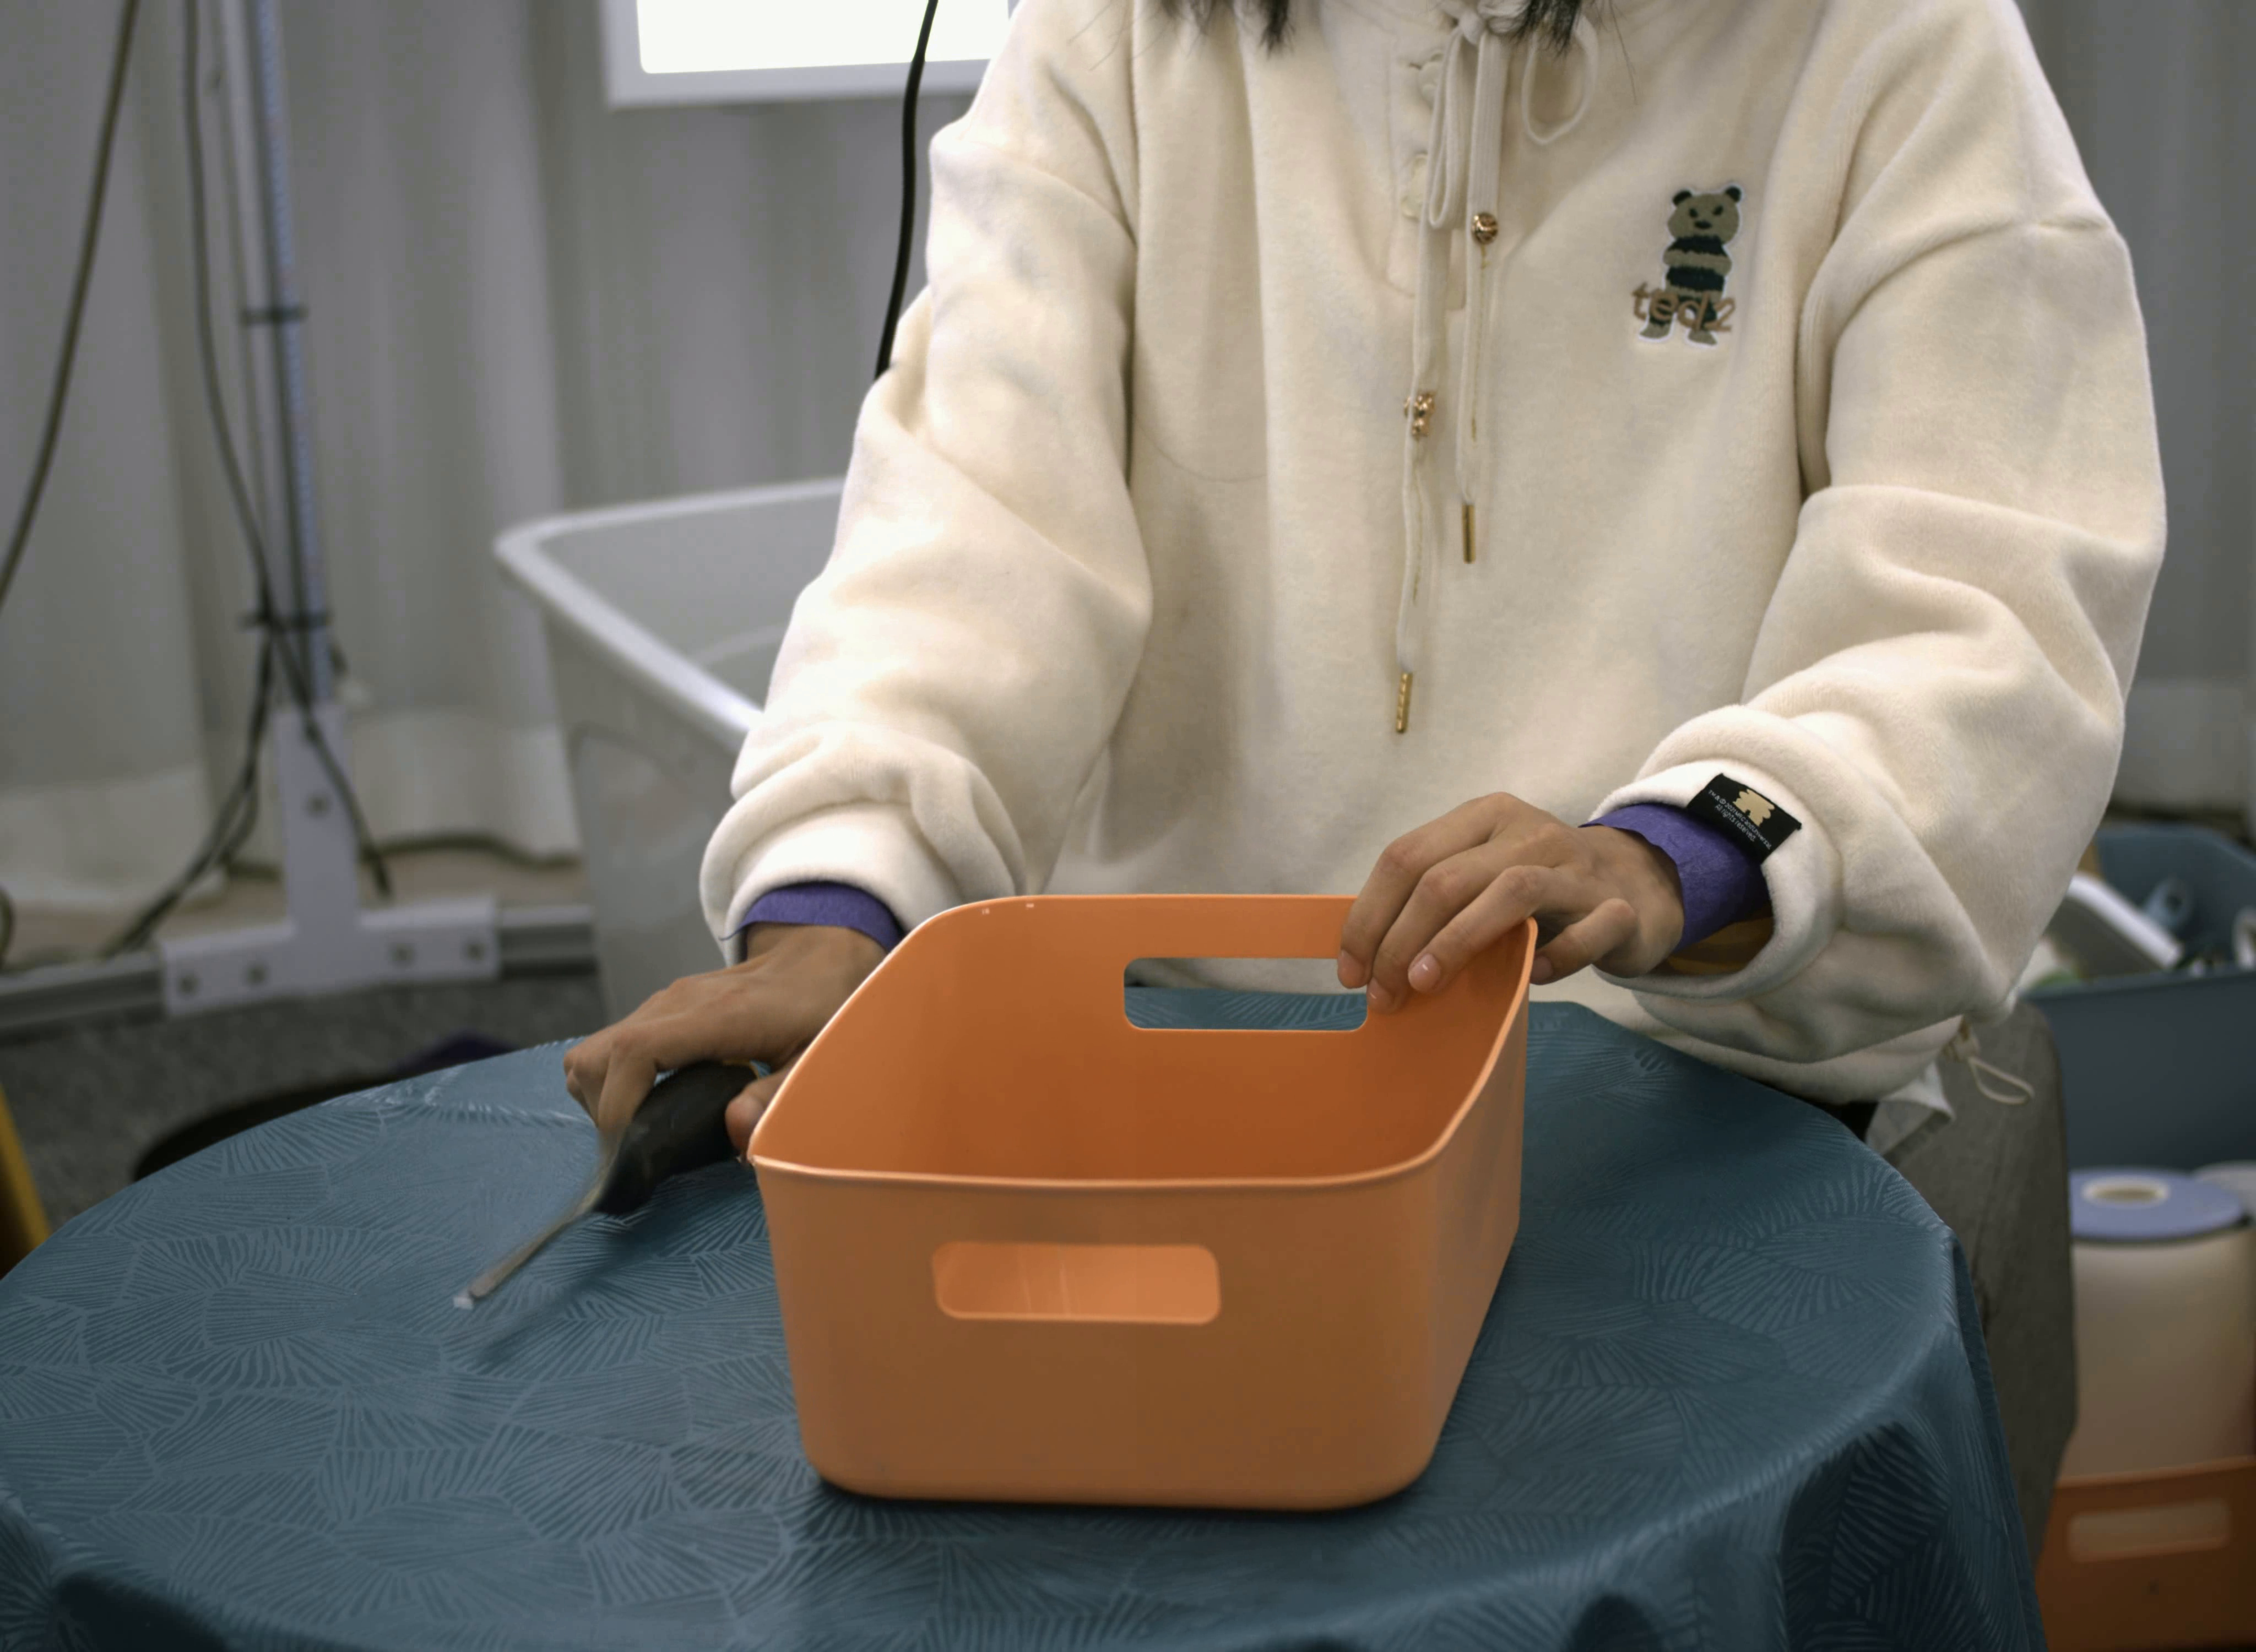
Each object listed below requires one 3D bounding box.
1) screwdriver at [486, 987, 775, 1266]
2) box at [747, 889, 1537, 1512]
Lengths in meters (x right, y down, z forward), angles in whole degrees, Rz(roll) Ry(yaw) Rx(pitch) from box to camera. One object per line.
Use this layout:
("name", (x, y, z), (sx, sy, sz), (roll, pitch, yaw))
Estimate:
("screwdriver", (-0.151, 0.095, 1.690), (0.031, 0.031, 0.199), (2, 22, 16))
("box", (0.013, 0.103, 1.554), (0.199, 0.102, 0.274), (-1, 15, 11))
